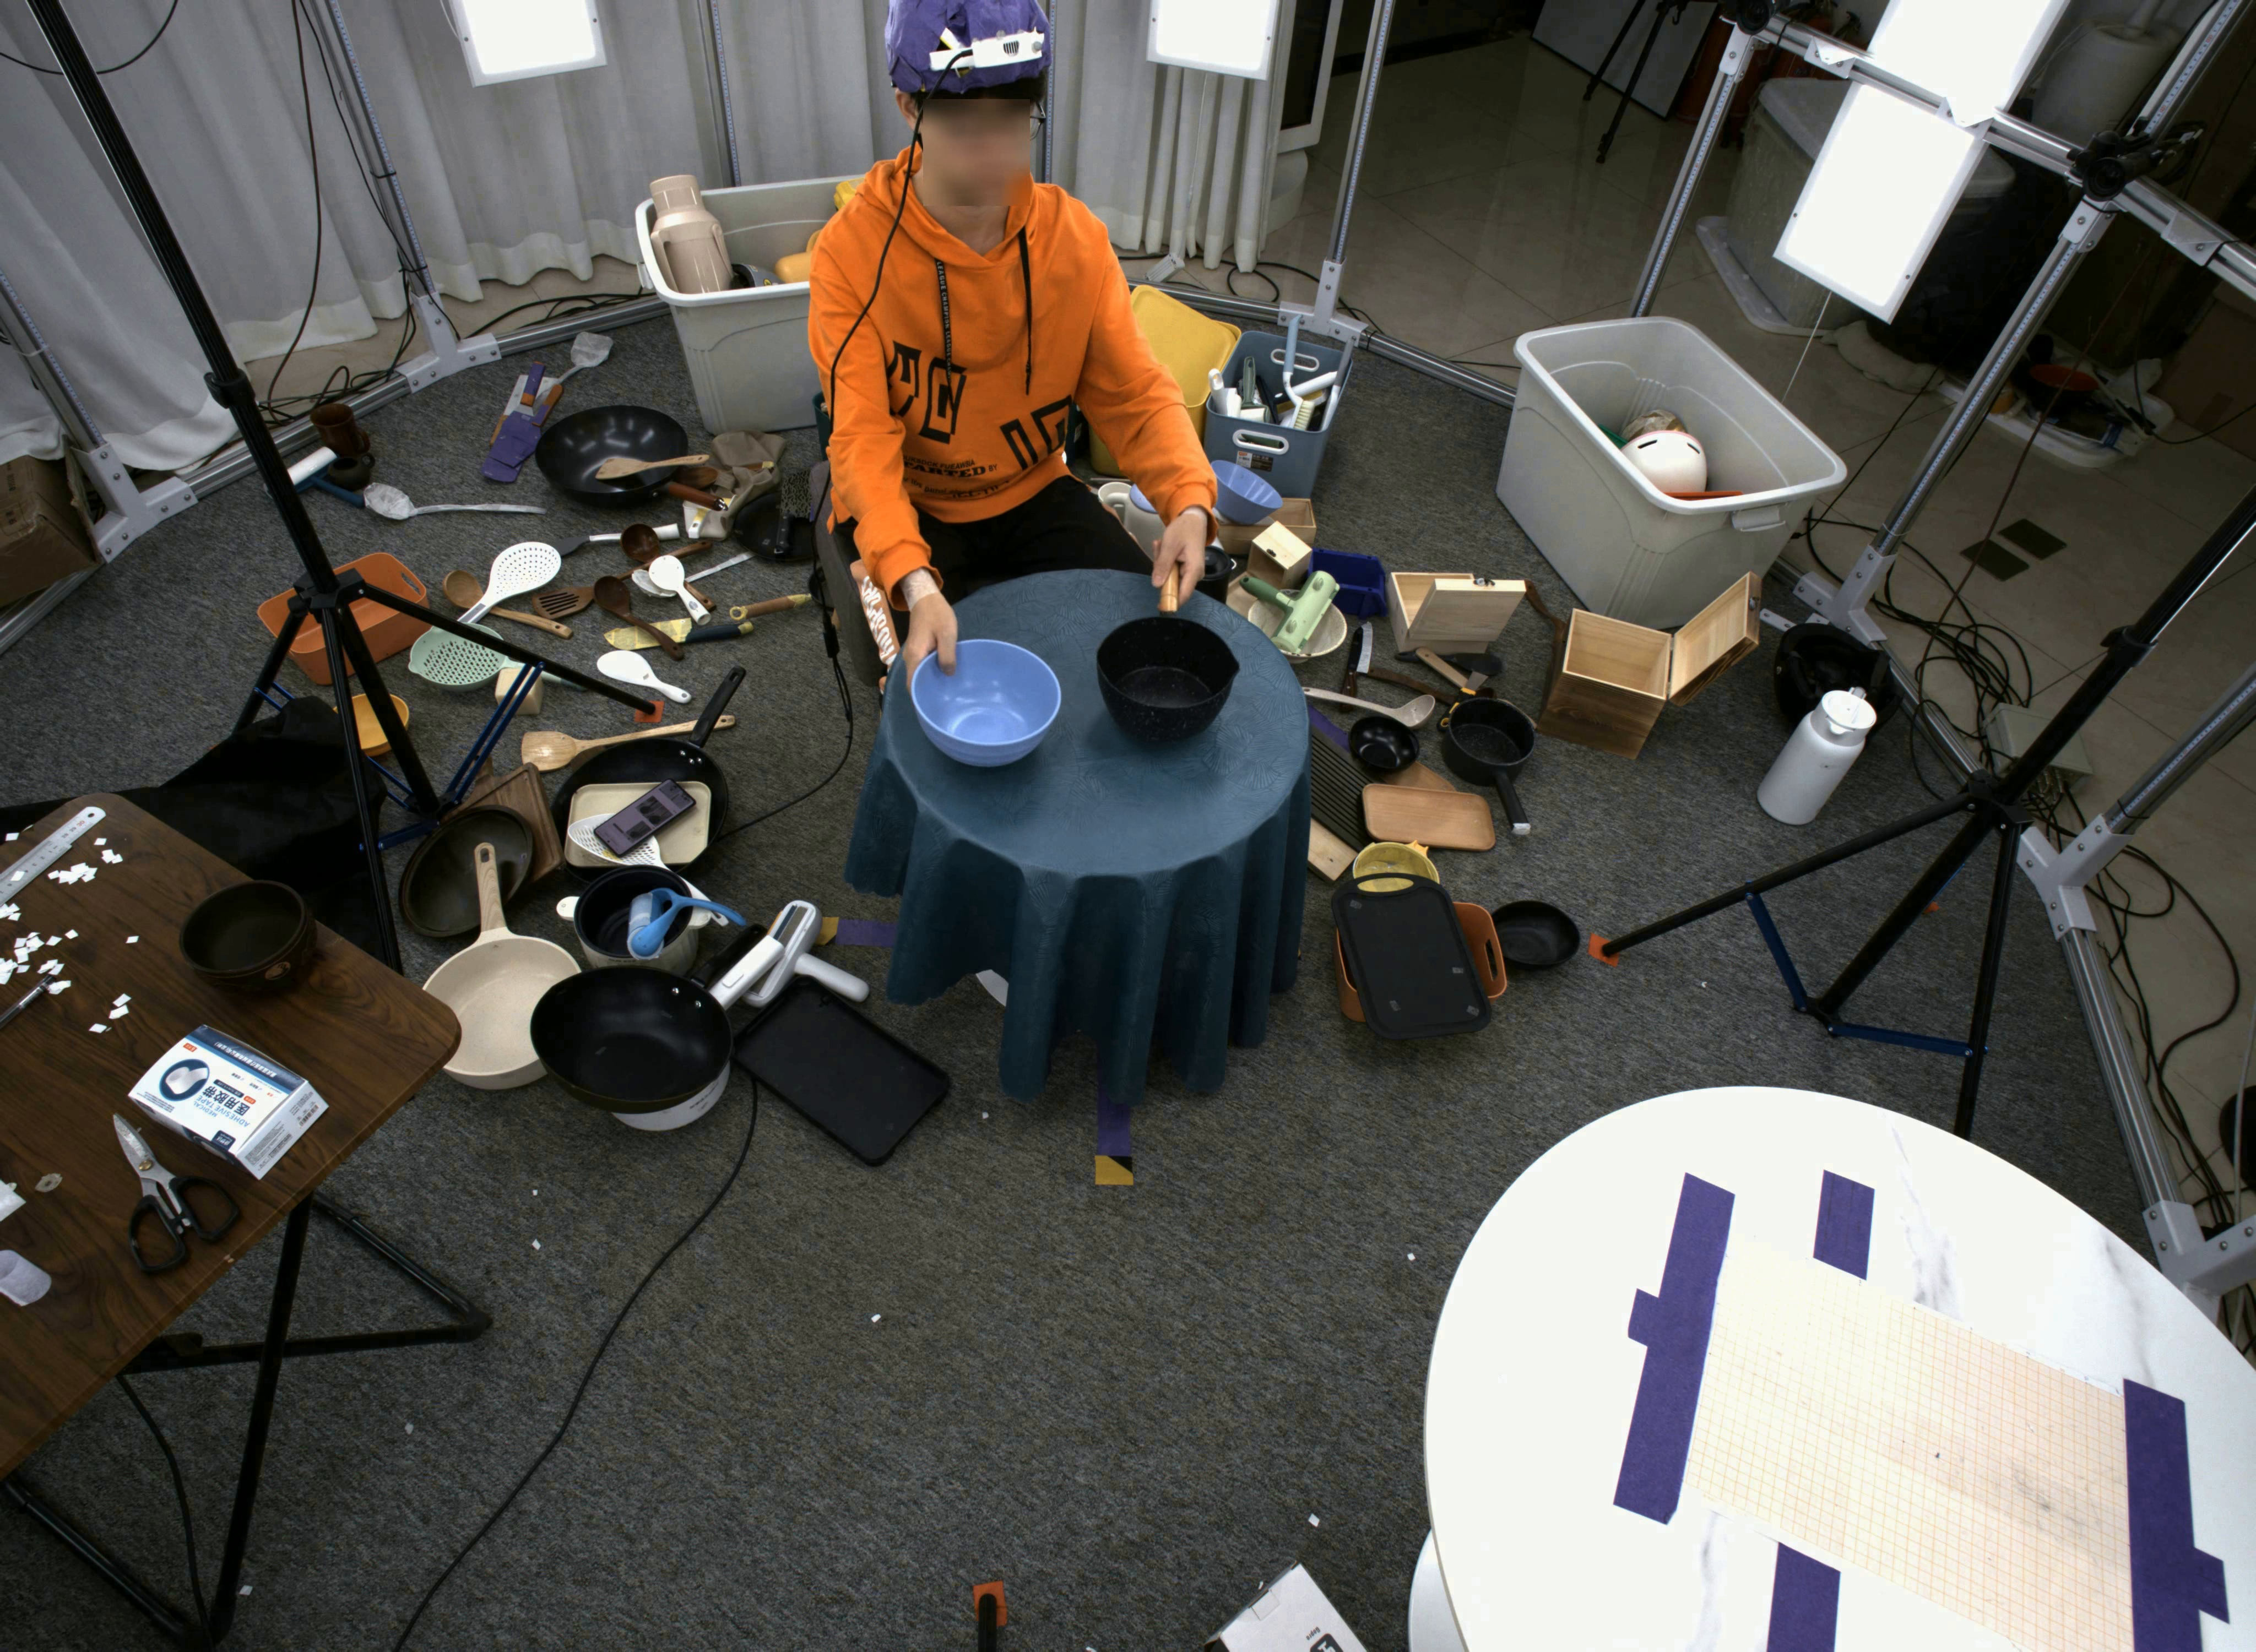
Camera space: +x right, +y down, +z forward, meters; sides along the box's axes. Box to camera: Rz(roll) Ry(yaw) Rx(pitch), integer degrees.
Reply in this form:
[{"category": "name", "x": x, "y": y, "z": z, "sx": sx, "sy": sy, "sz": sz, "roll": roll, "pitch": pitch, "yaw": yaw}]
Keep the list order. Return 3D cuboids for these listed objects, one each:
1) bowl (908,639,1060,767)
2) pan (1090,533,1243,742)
[{"category": "bowl", "x": -0.192, "y": -0.148, "z": 1.705, "sx": 0.196, "sy": 0.093, "sz": 0.201, "roll": 5, "pitch": 49, "yaw": -6}, {"category": "pan", "x": 0.053, "y": -0.265, "z": 1.802, "sx": 0.207, "sy": 0.105, "sz": 0.351, "roll": 3, "pitch": 49, "yaw": 0}]
